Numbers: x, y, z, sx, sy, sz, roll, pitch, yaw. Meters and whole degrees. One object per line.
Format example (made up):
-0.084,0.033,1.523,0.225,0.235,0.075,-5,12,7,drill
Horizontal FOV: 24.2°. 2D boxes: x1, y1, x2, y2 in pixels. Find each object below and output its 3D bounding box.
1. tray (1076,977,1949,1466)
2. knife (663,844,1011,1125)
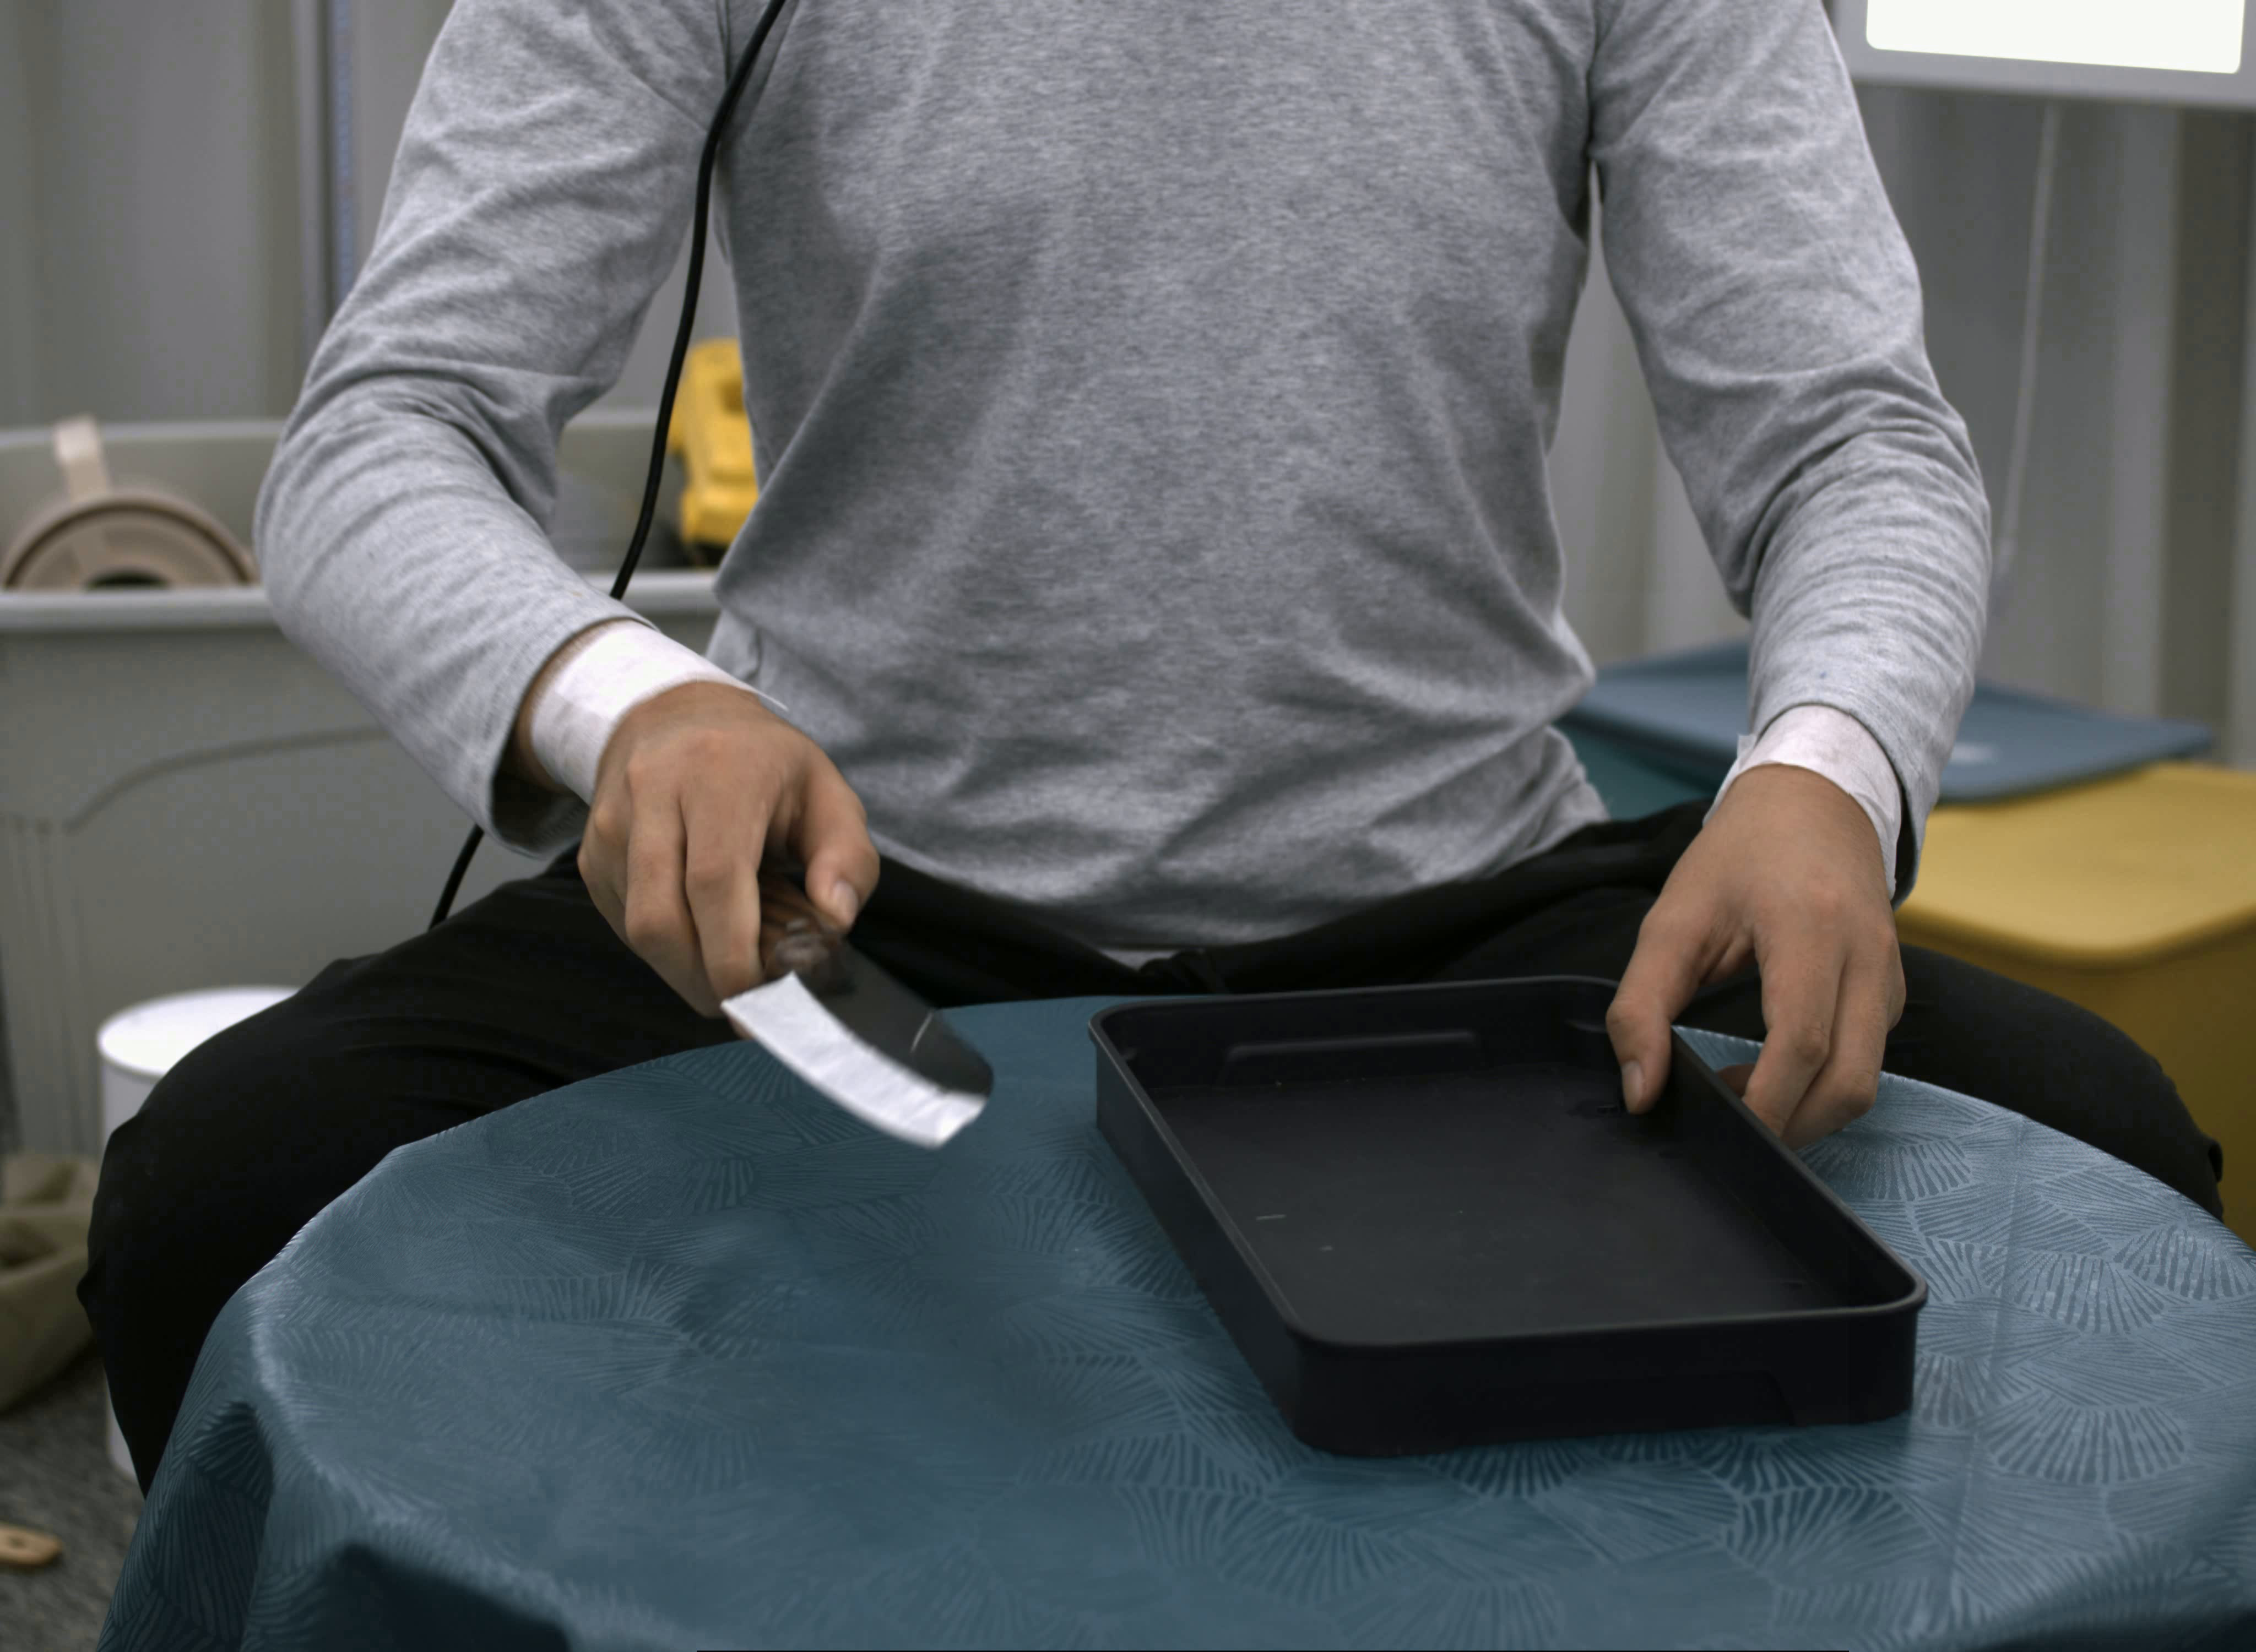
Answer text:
0.105,0.111,1.566,0.184,0.037,0.315,-3,16,-14,tray
-0.088,0.046,1.508,0.050,0.020,0.286,-22,19,-13,knife
